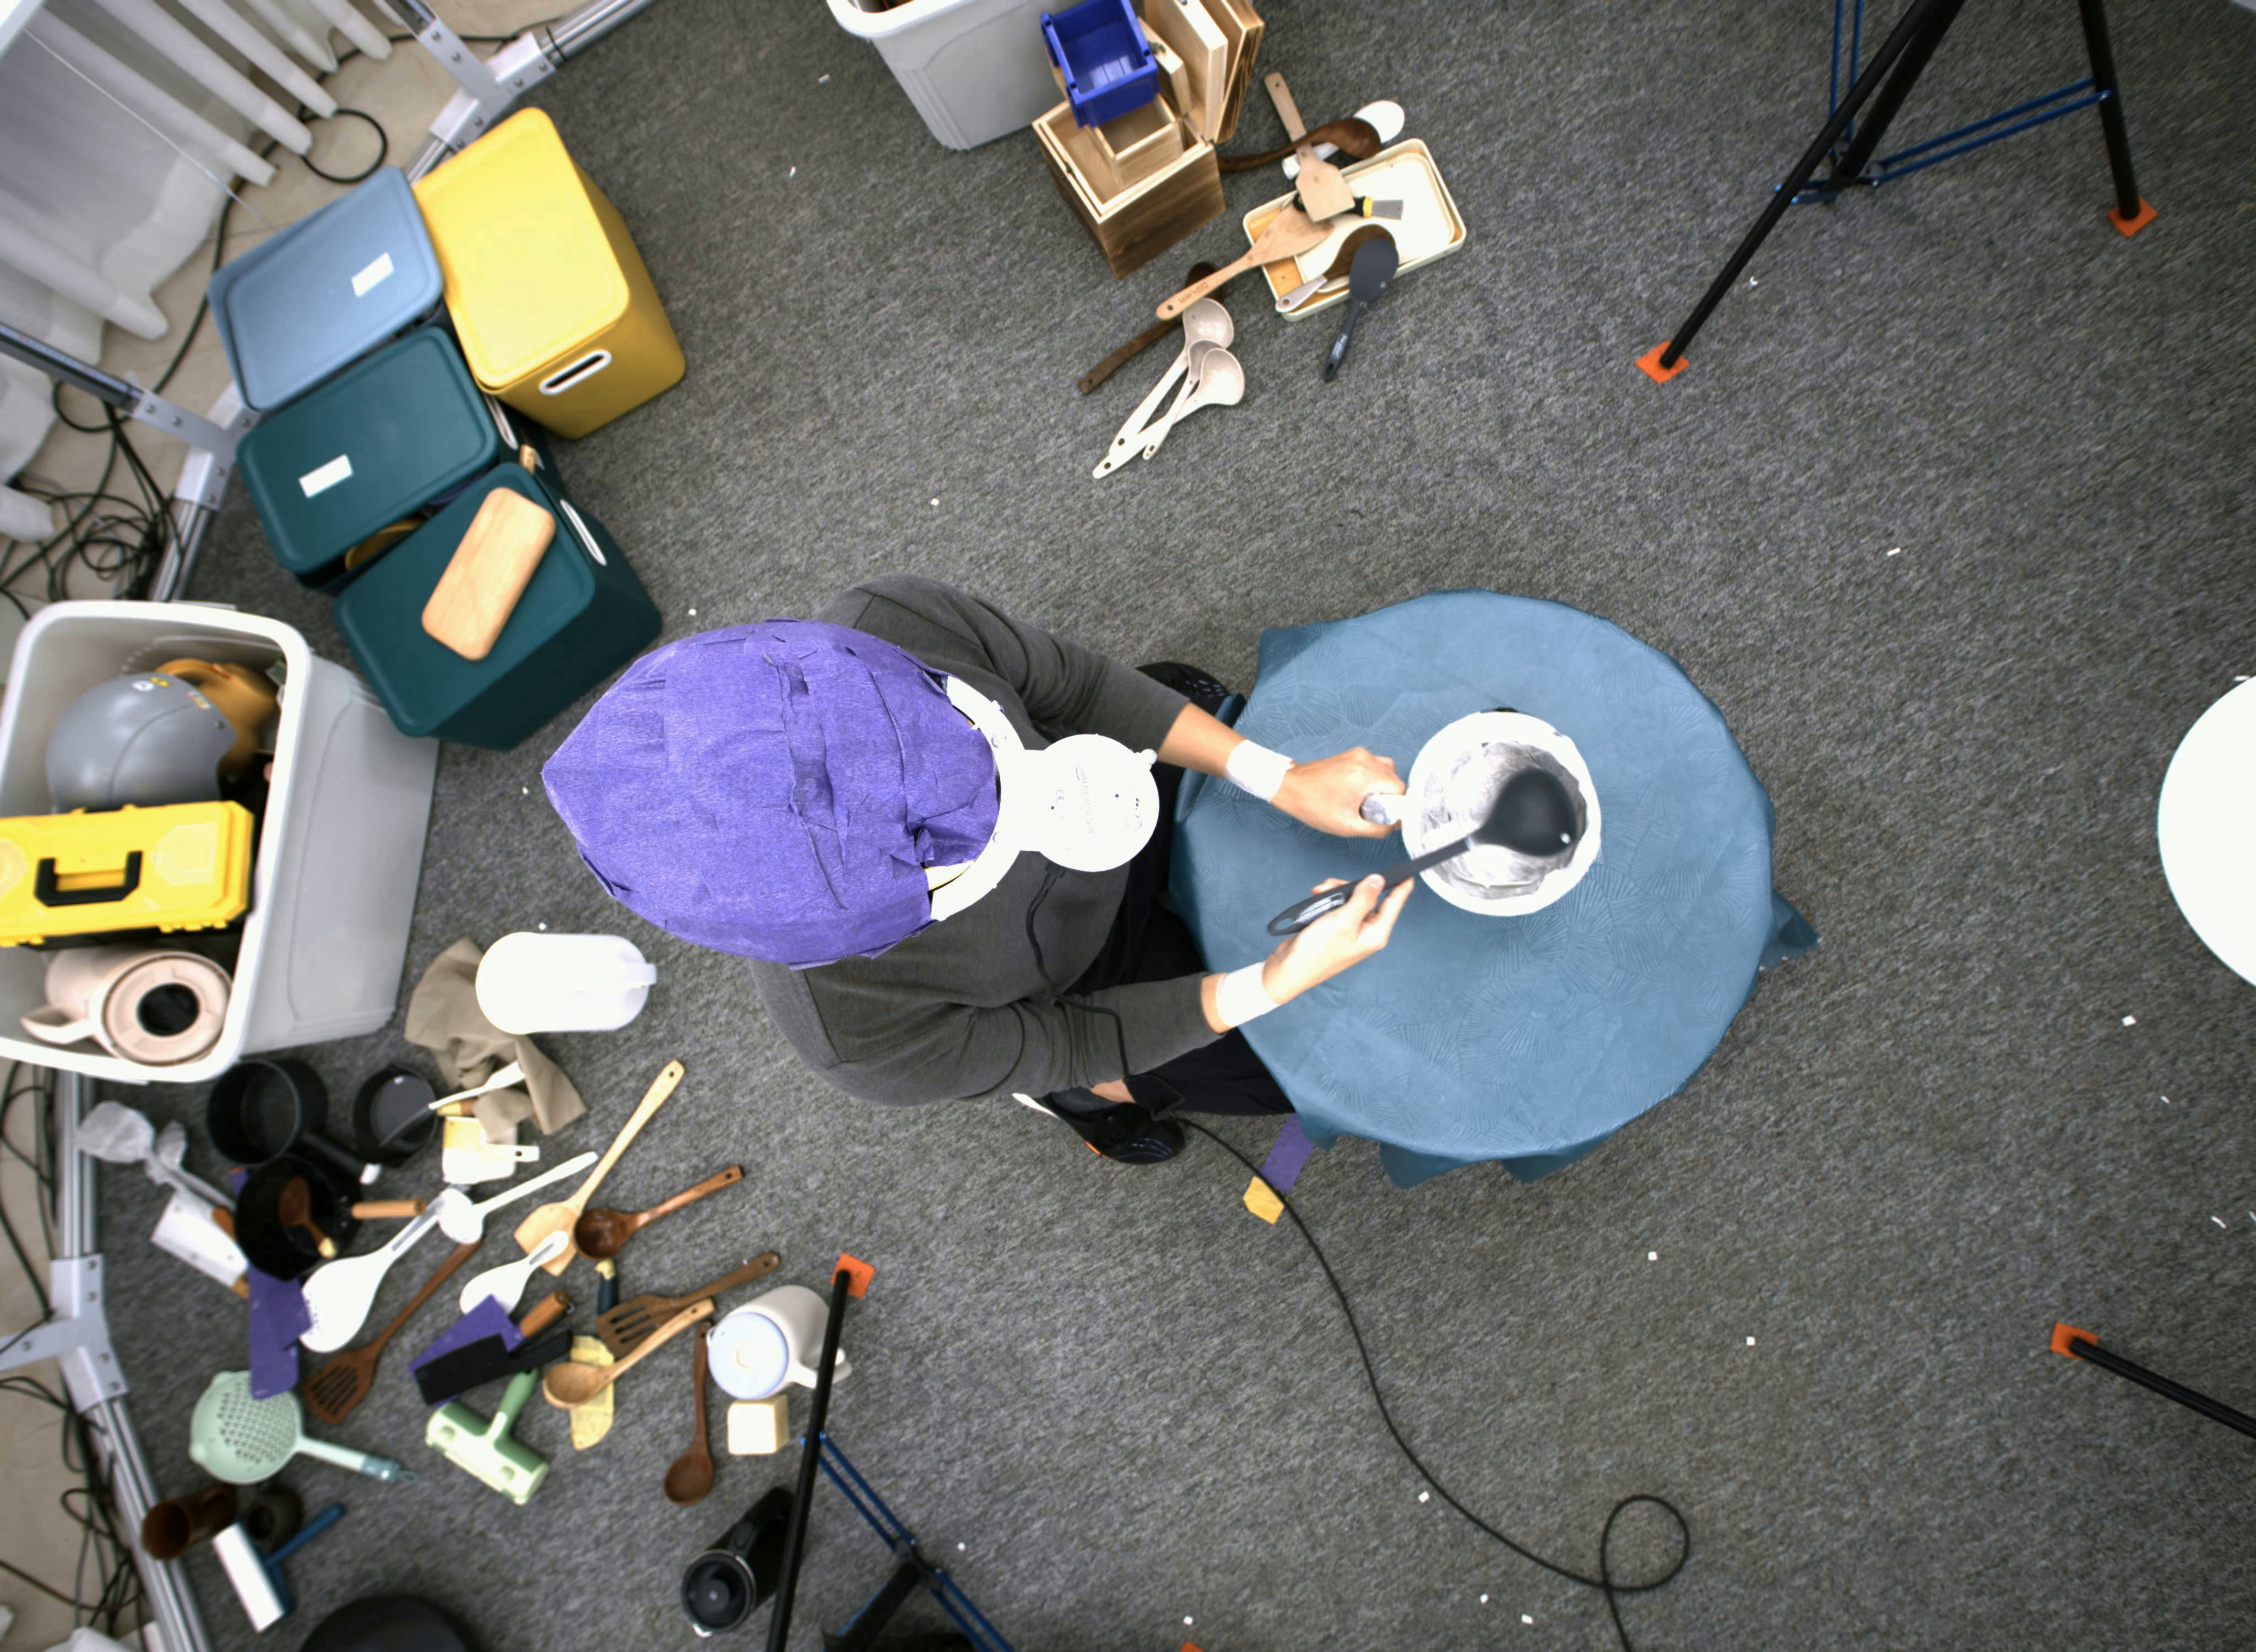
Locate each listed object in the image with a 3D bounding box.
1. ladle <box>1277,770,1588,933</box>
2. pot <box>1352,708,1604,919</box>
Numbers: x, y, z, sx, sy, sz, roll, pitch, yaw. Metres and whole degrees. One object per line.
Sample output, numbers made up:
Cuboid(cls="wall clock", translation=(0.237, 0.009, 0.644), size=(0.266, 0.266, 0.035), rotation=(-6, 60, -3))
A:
Cuboid(cls="ladle", translation=(0.277, 0.032, 1.247), size=(0.311, 0.065, 0.086), rotation=(-20, 84, -18))
Cuboid(cls="pot", translation=(0.330, -0.019, 1.317), size=(0.234, 0.134, 0.181), rotation=(3, 107, 14))
